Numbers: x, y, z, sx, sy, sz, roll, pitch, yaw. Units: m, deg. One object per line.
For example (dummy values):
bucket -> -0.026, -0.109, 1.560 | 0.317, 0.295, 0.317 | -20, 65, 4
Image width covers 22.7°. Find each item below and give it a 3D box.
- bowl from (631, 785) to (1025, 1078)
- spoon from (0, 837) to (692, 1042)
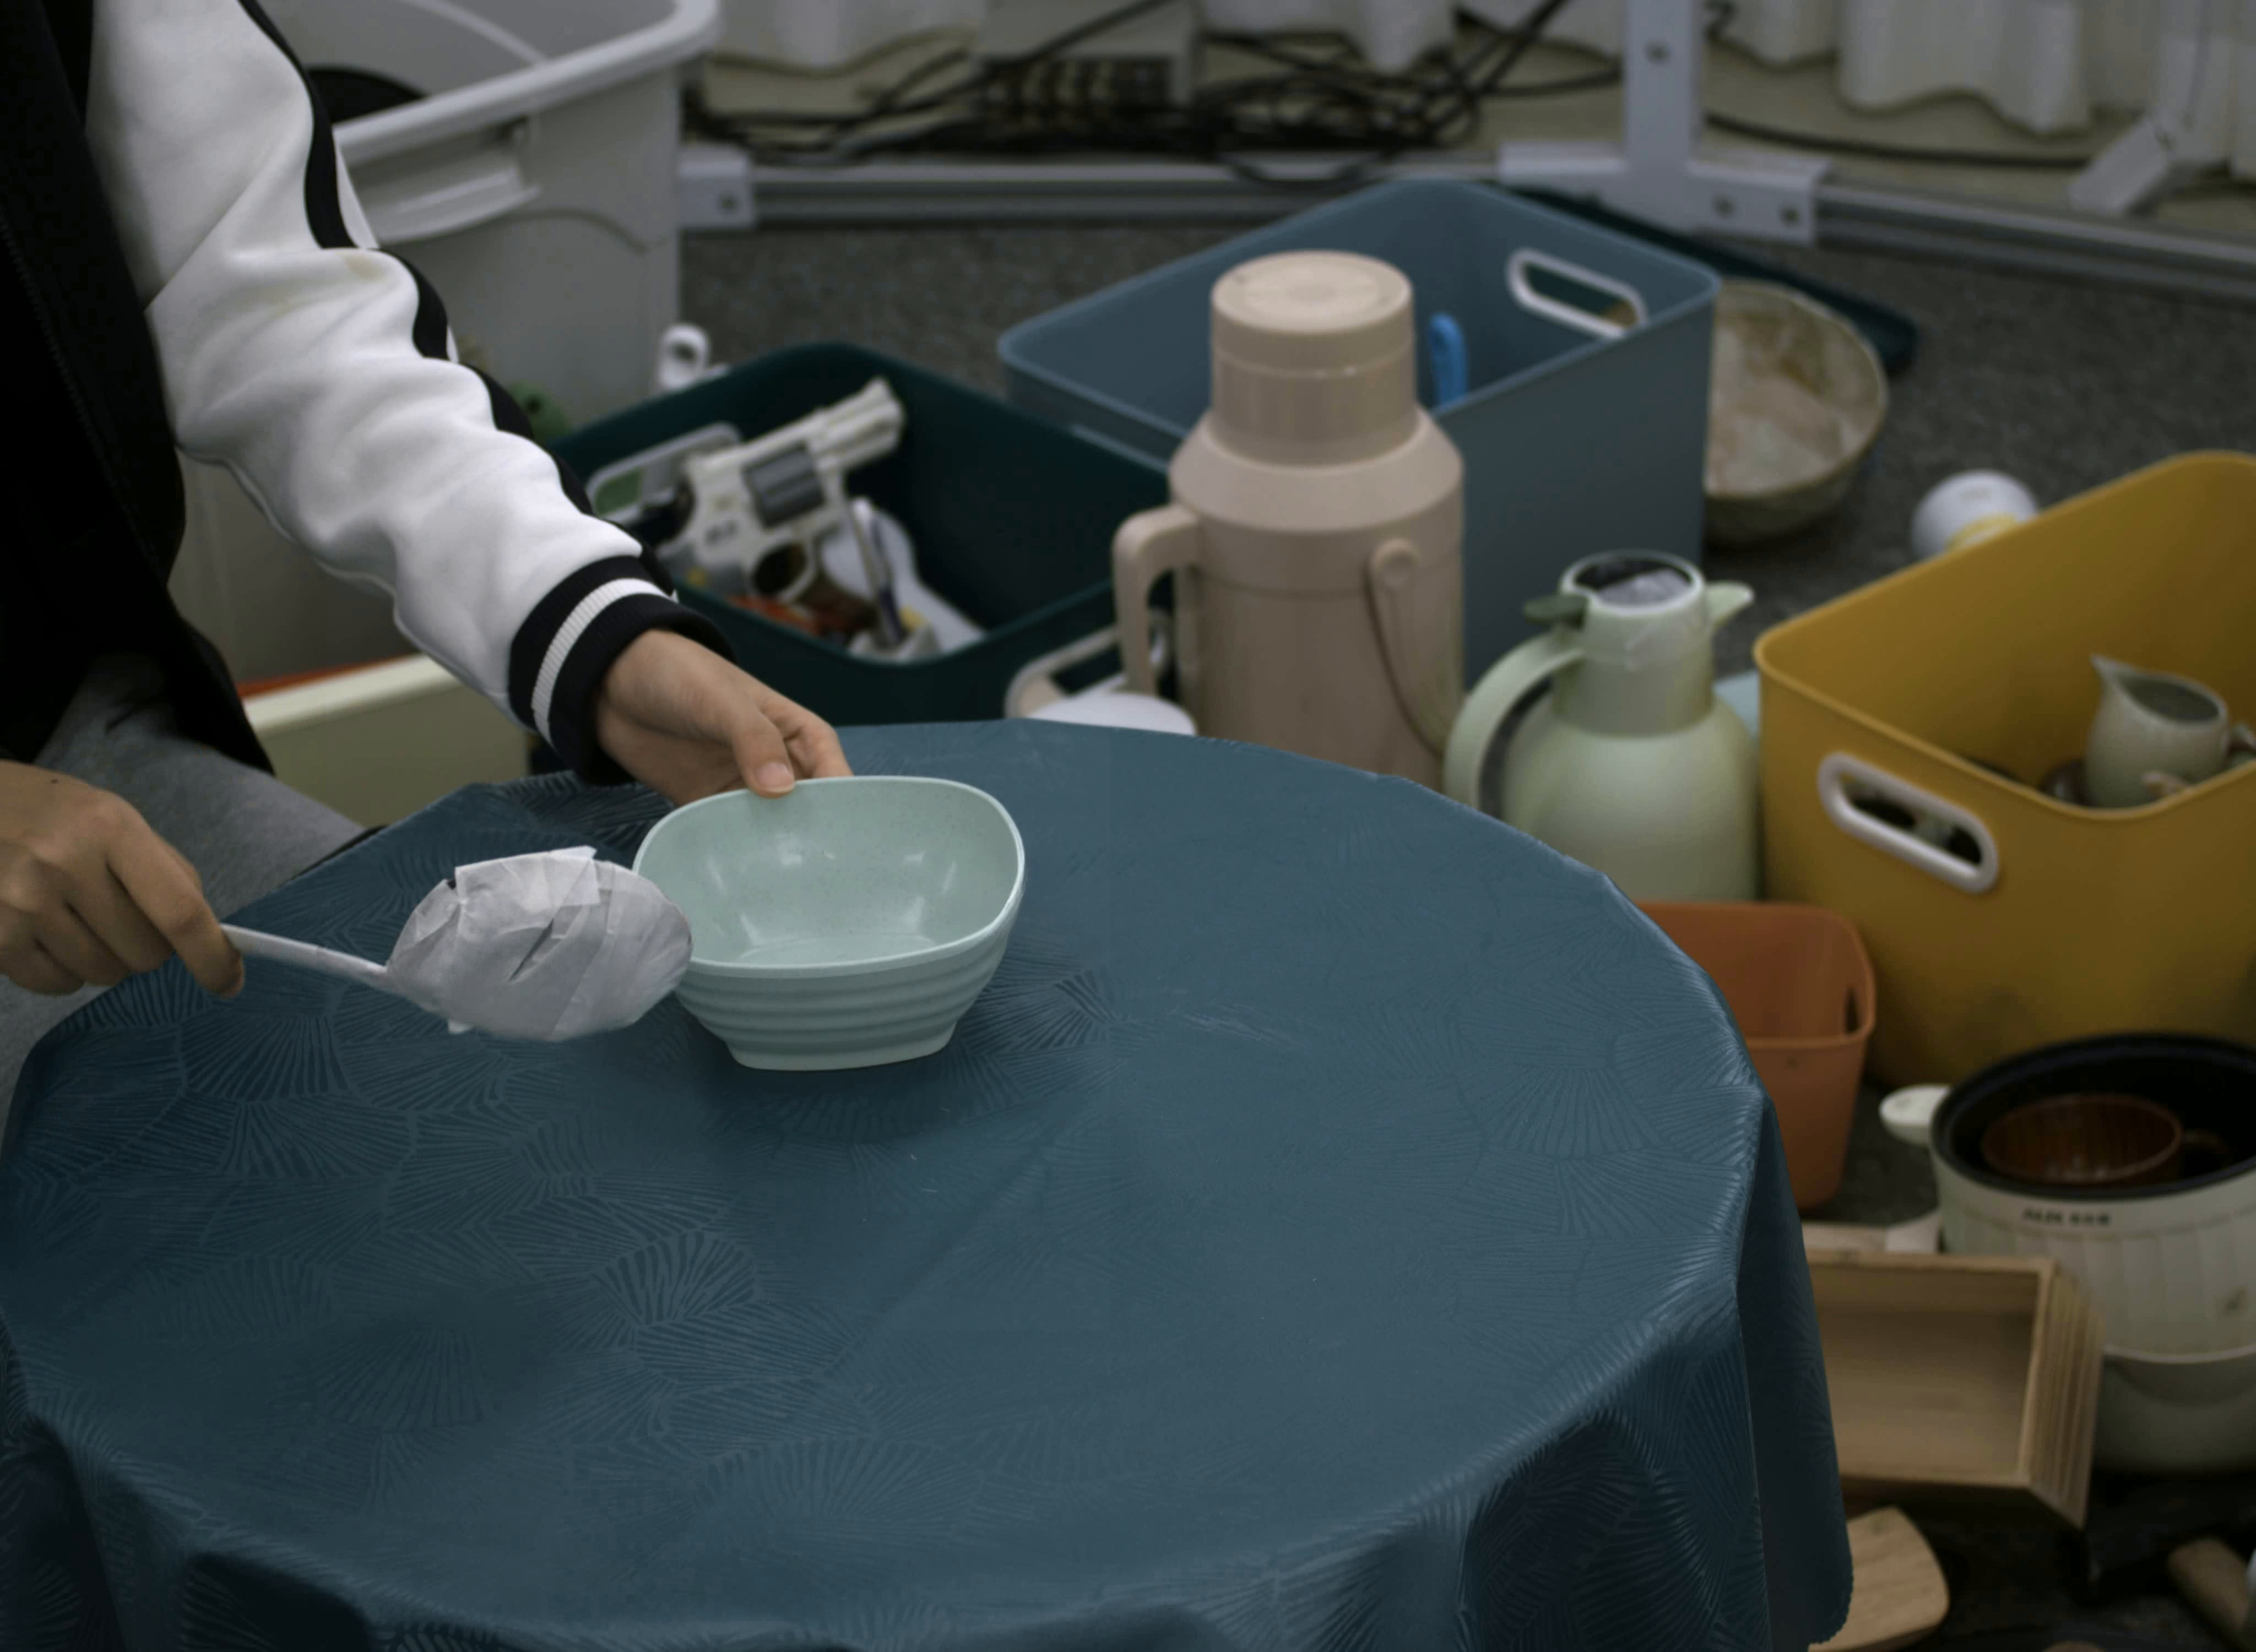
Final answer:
bowl -> -0.104, 0.043, 1.968 | 0.151, 0.058, 0.154 | -2, 27, 1
spoon -> -0.266, 0.023, 1.857 | 0.276, 0.099, 0.060 | 12, 54, 34
